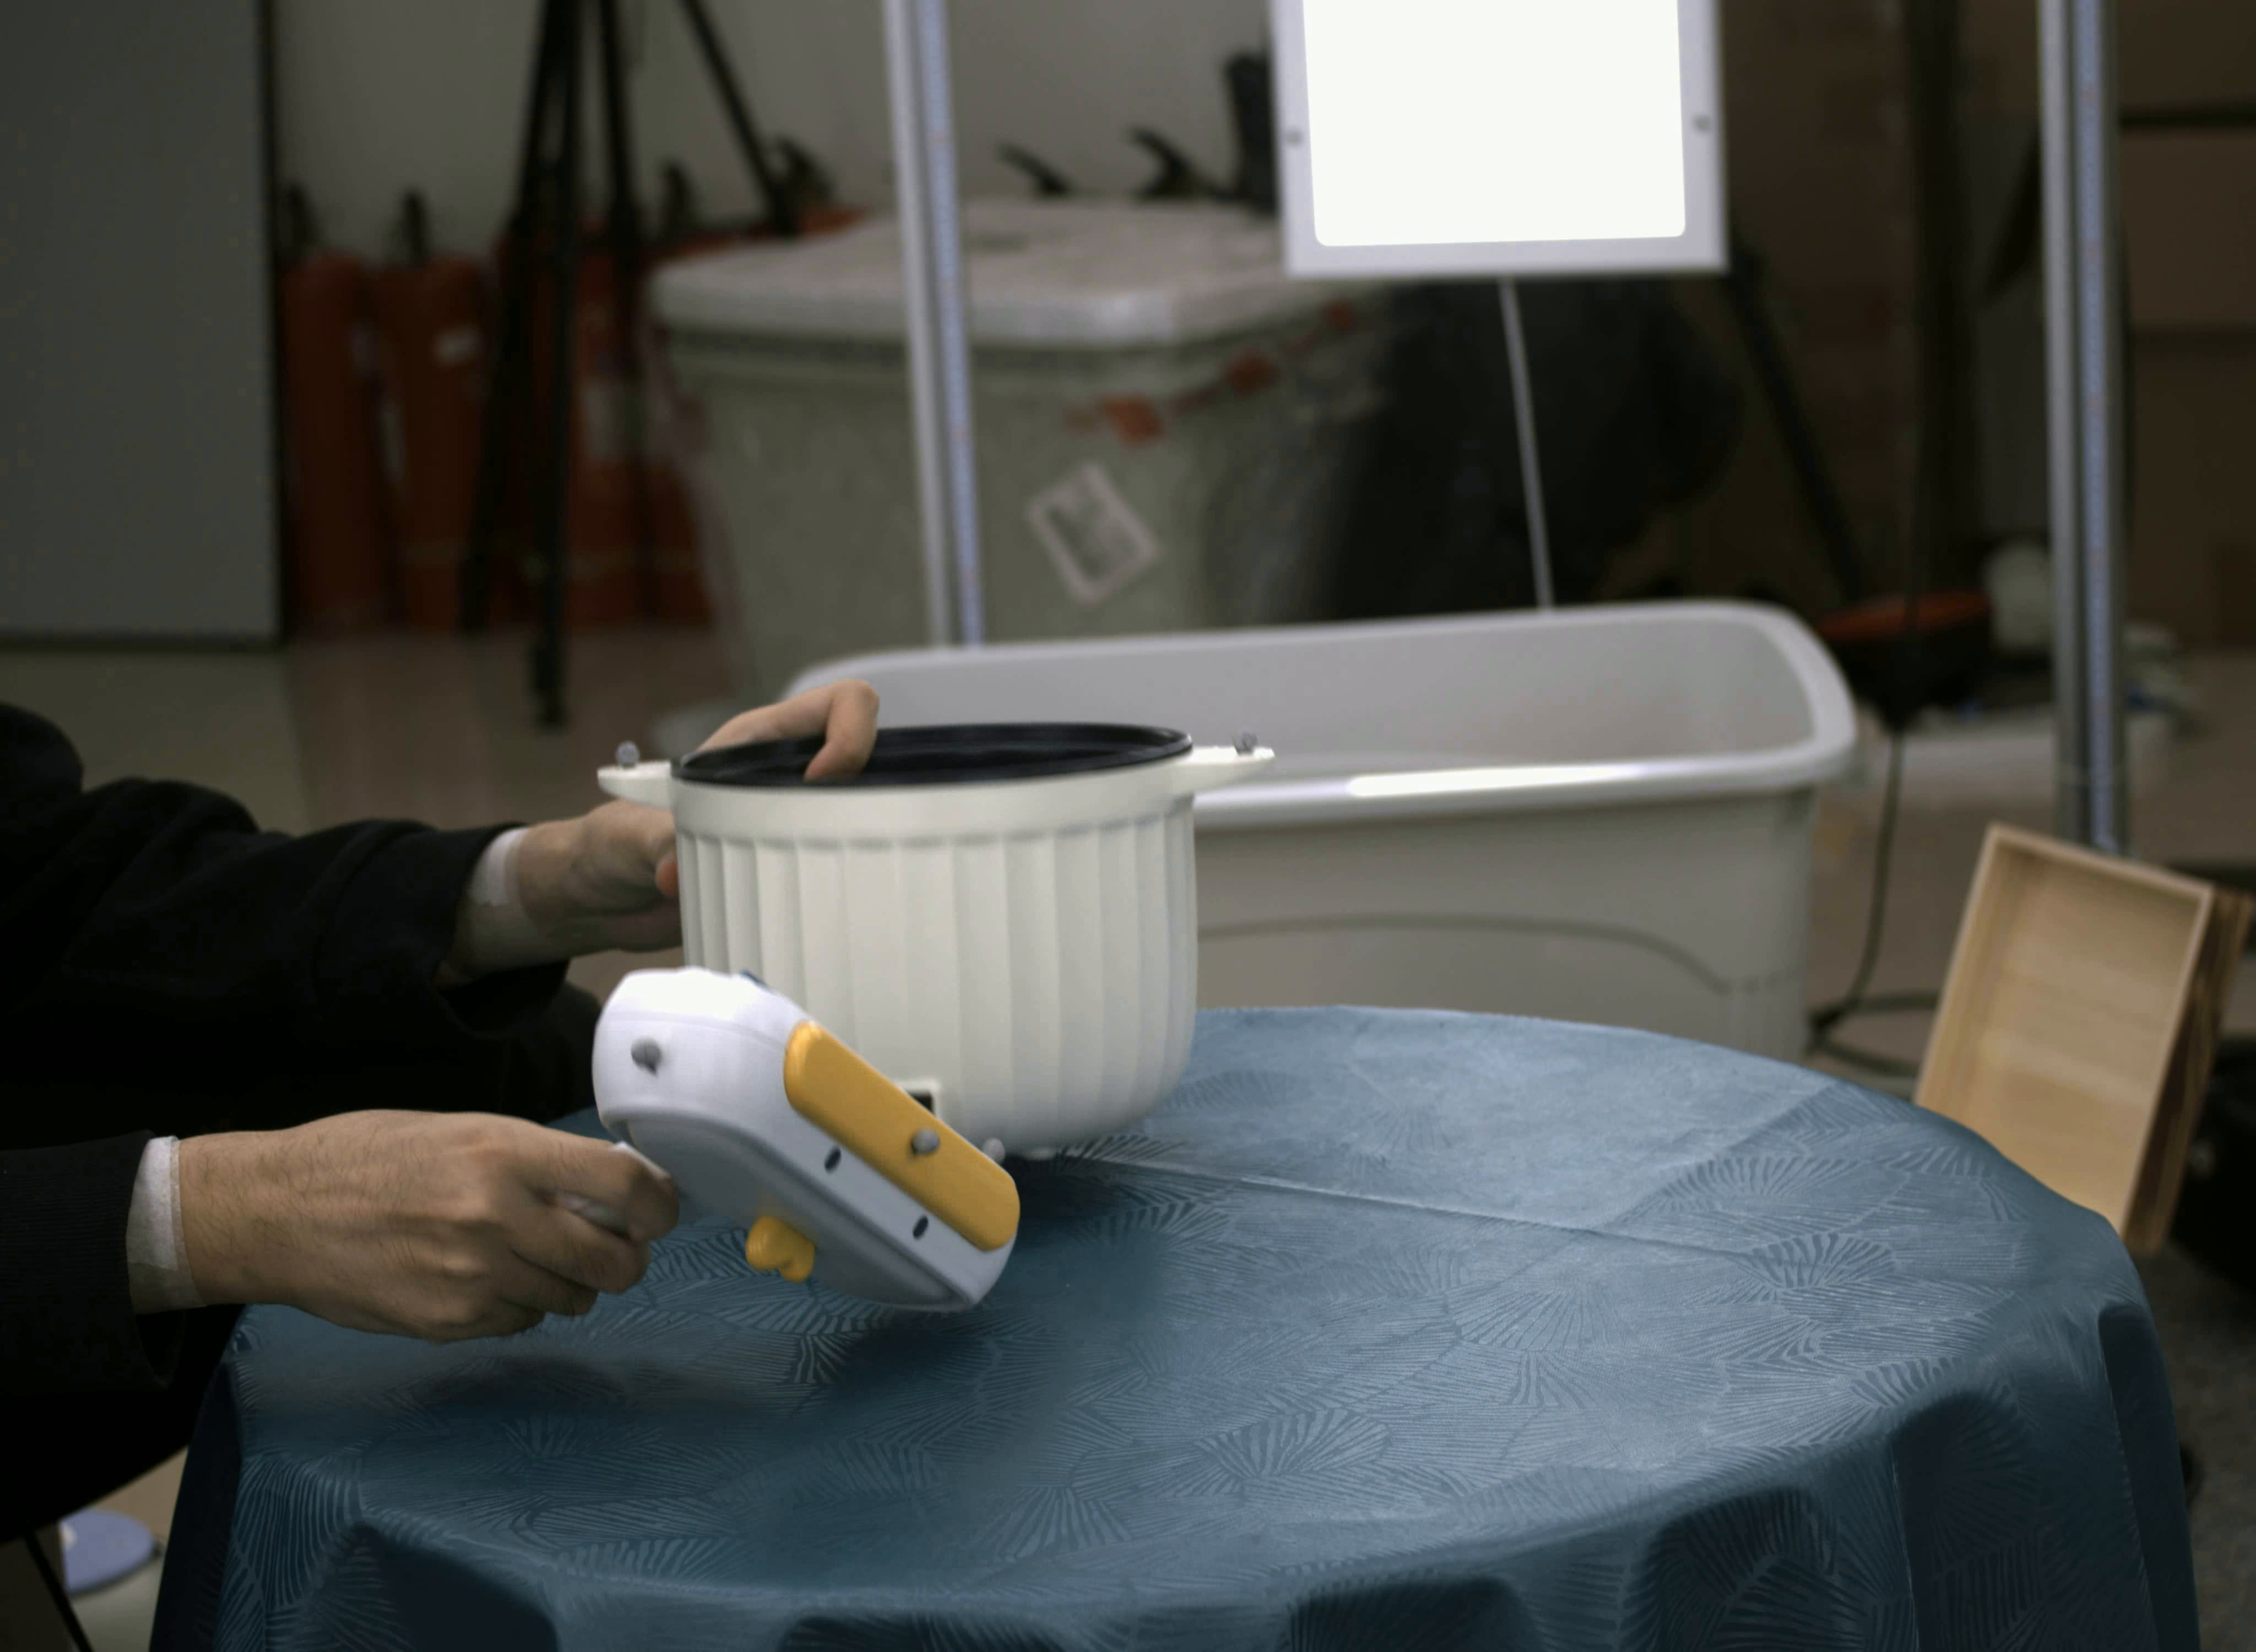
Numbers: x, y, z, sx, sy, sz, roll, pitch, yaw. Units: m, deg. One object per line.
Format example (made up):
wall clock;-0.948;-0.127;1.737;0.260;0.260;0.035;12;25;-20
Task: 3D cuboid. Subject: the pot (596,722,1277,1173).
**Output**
pot;-0.064;0.042;1.913;0.242;0.143;0.188;-1;11;12

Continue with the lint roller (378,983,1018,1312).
lint roller;-0.152;0.114;1.735;0.196;0.074;0.189;-8;-23;30
